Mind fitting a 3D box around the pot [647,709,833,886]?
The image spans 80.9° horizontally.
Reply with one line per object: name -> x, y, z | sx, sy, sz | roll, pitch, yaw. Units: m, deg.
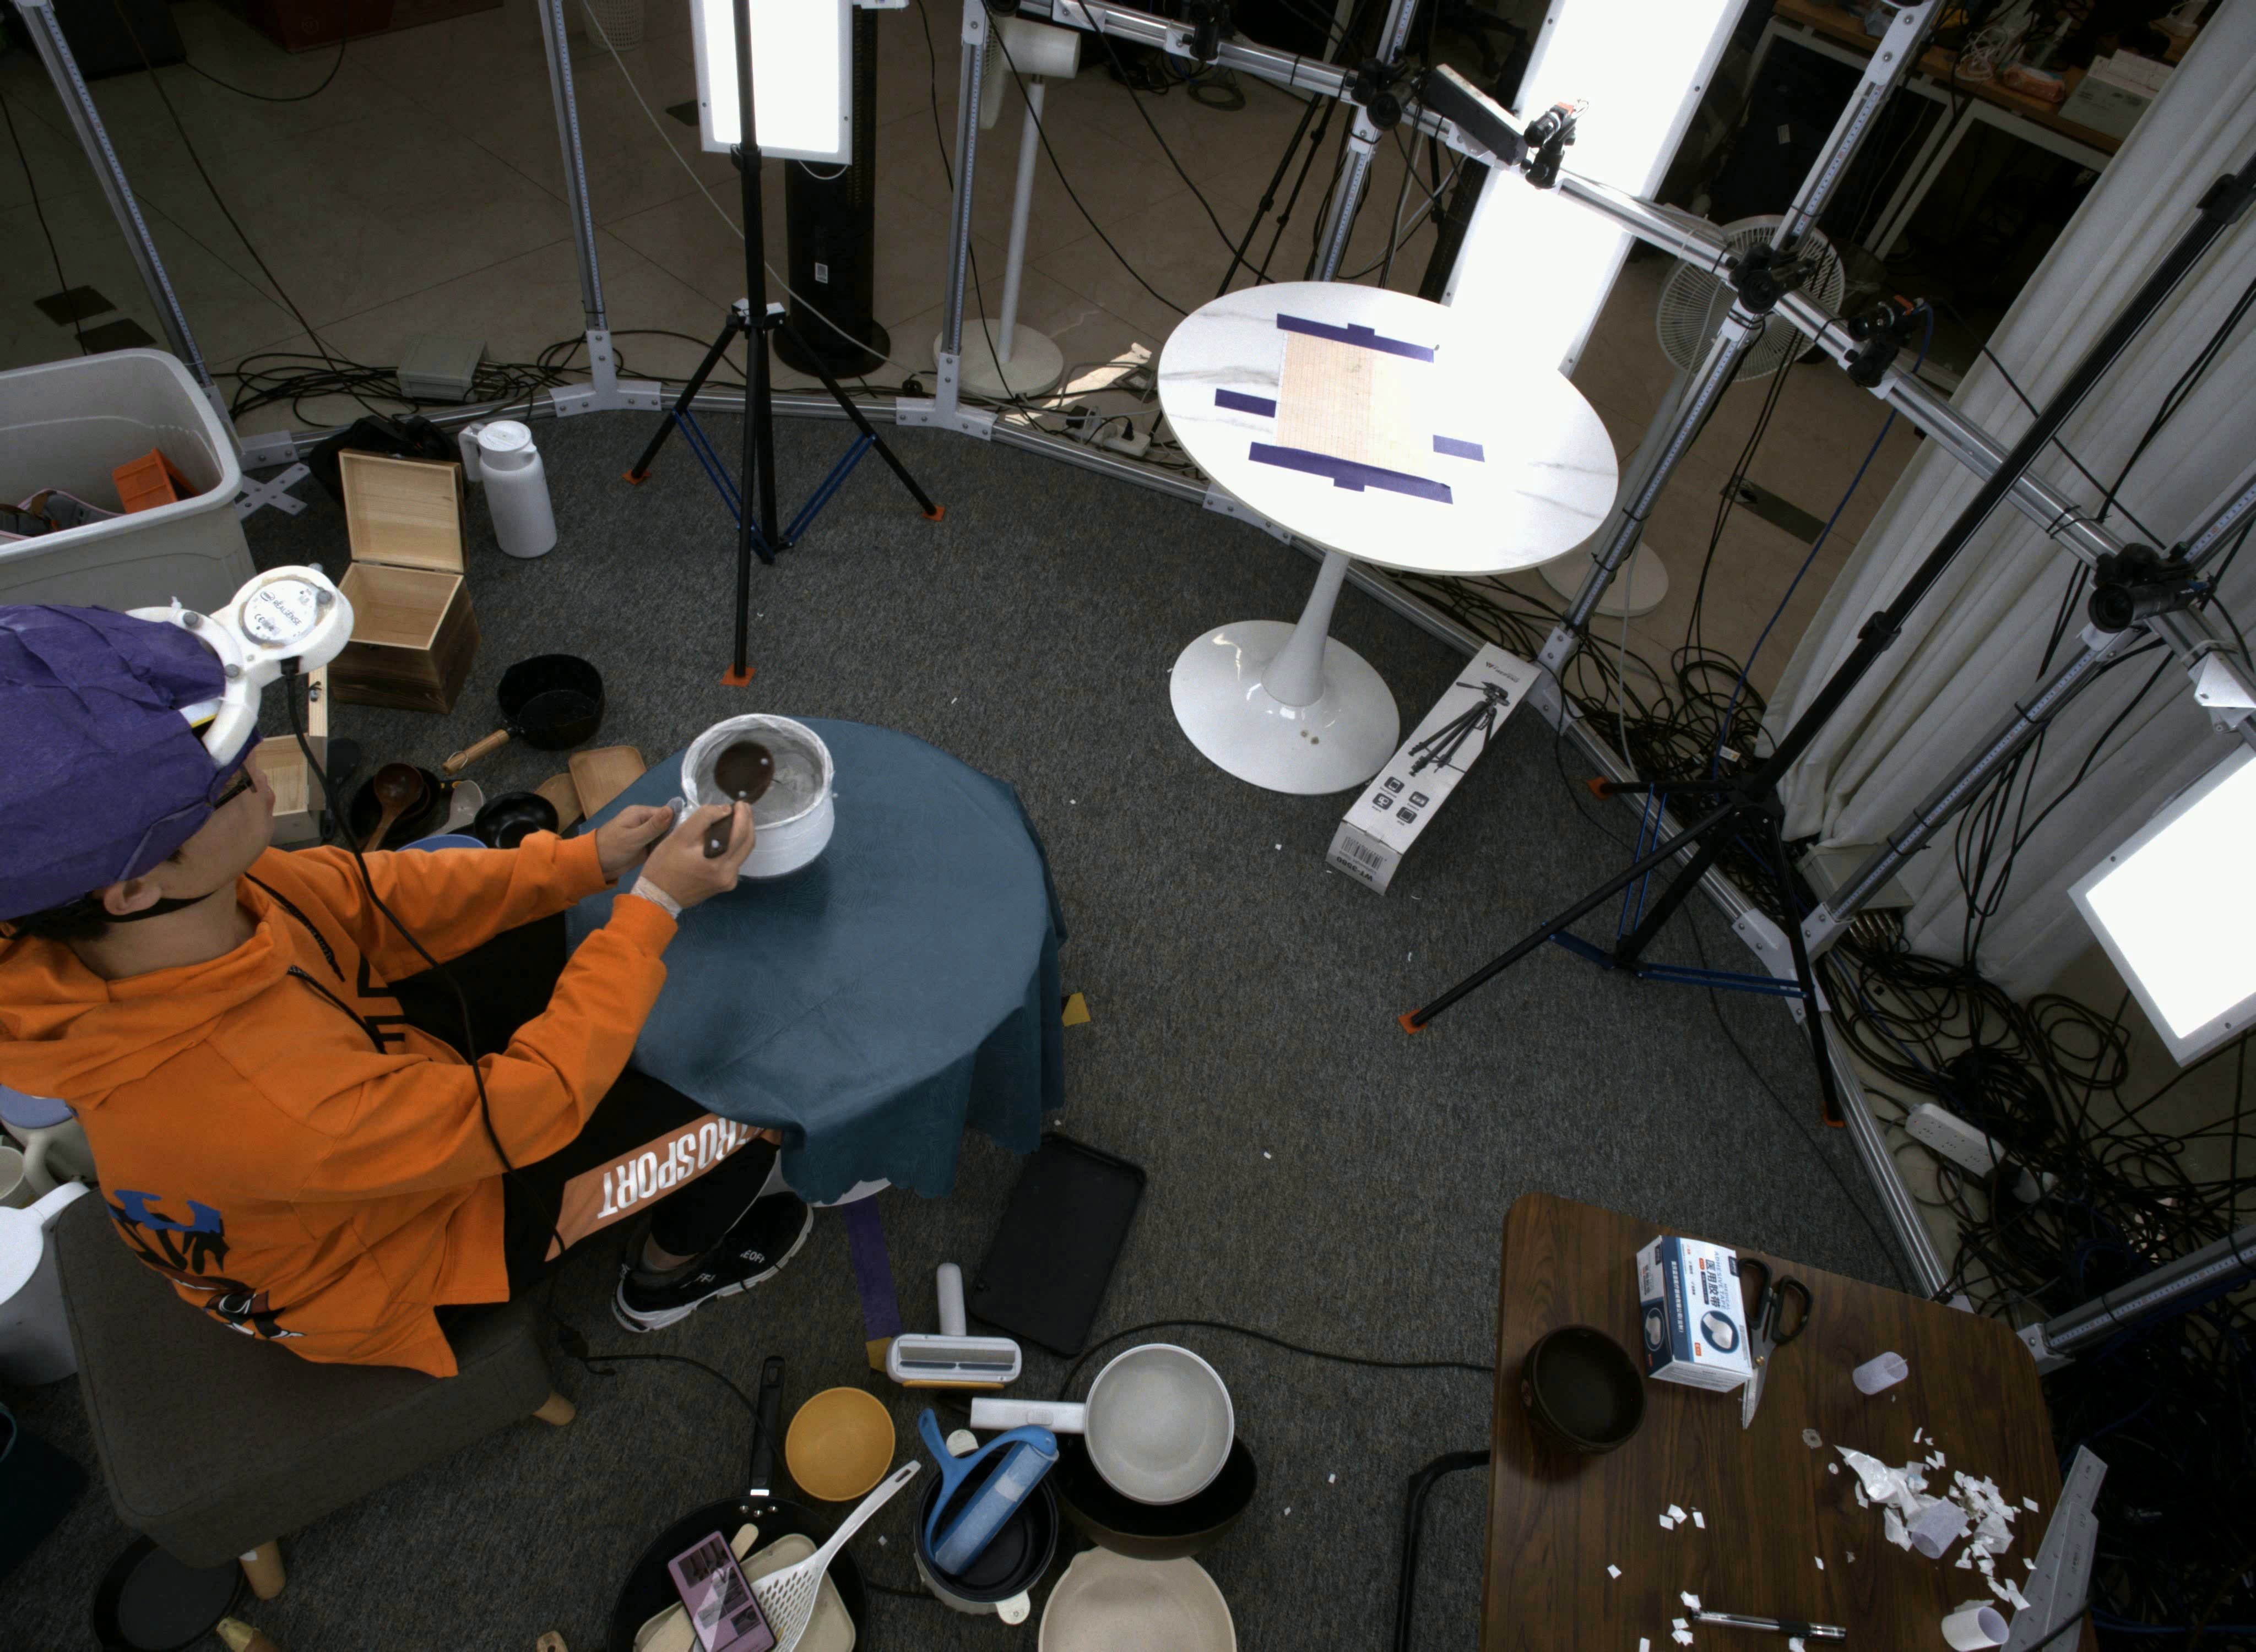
pot -> -0.471, -0.021, 1.560 | 0.234, 0.139, 0.174 | -28, 63, -29

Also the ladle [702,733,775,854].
ladle -> -0.443, -0.043, 1.425 | 0.075, 0.073, 0.268 | -21, 17, 0
